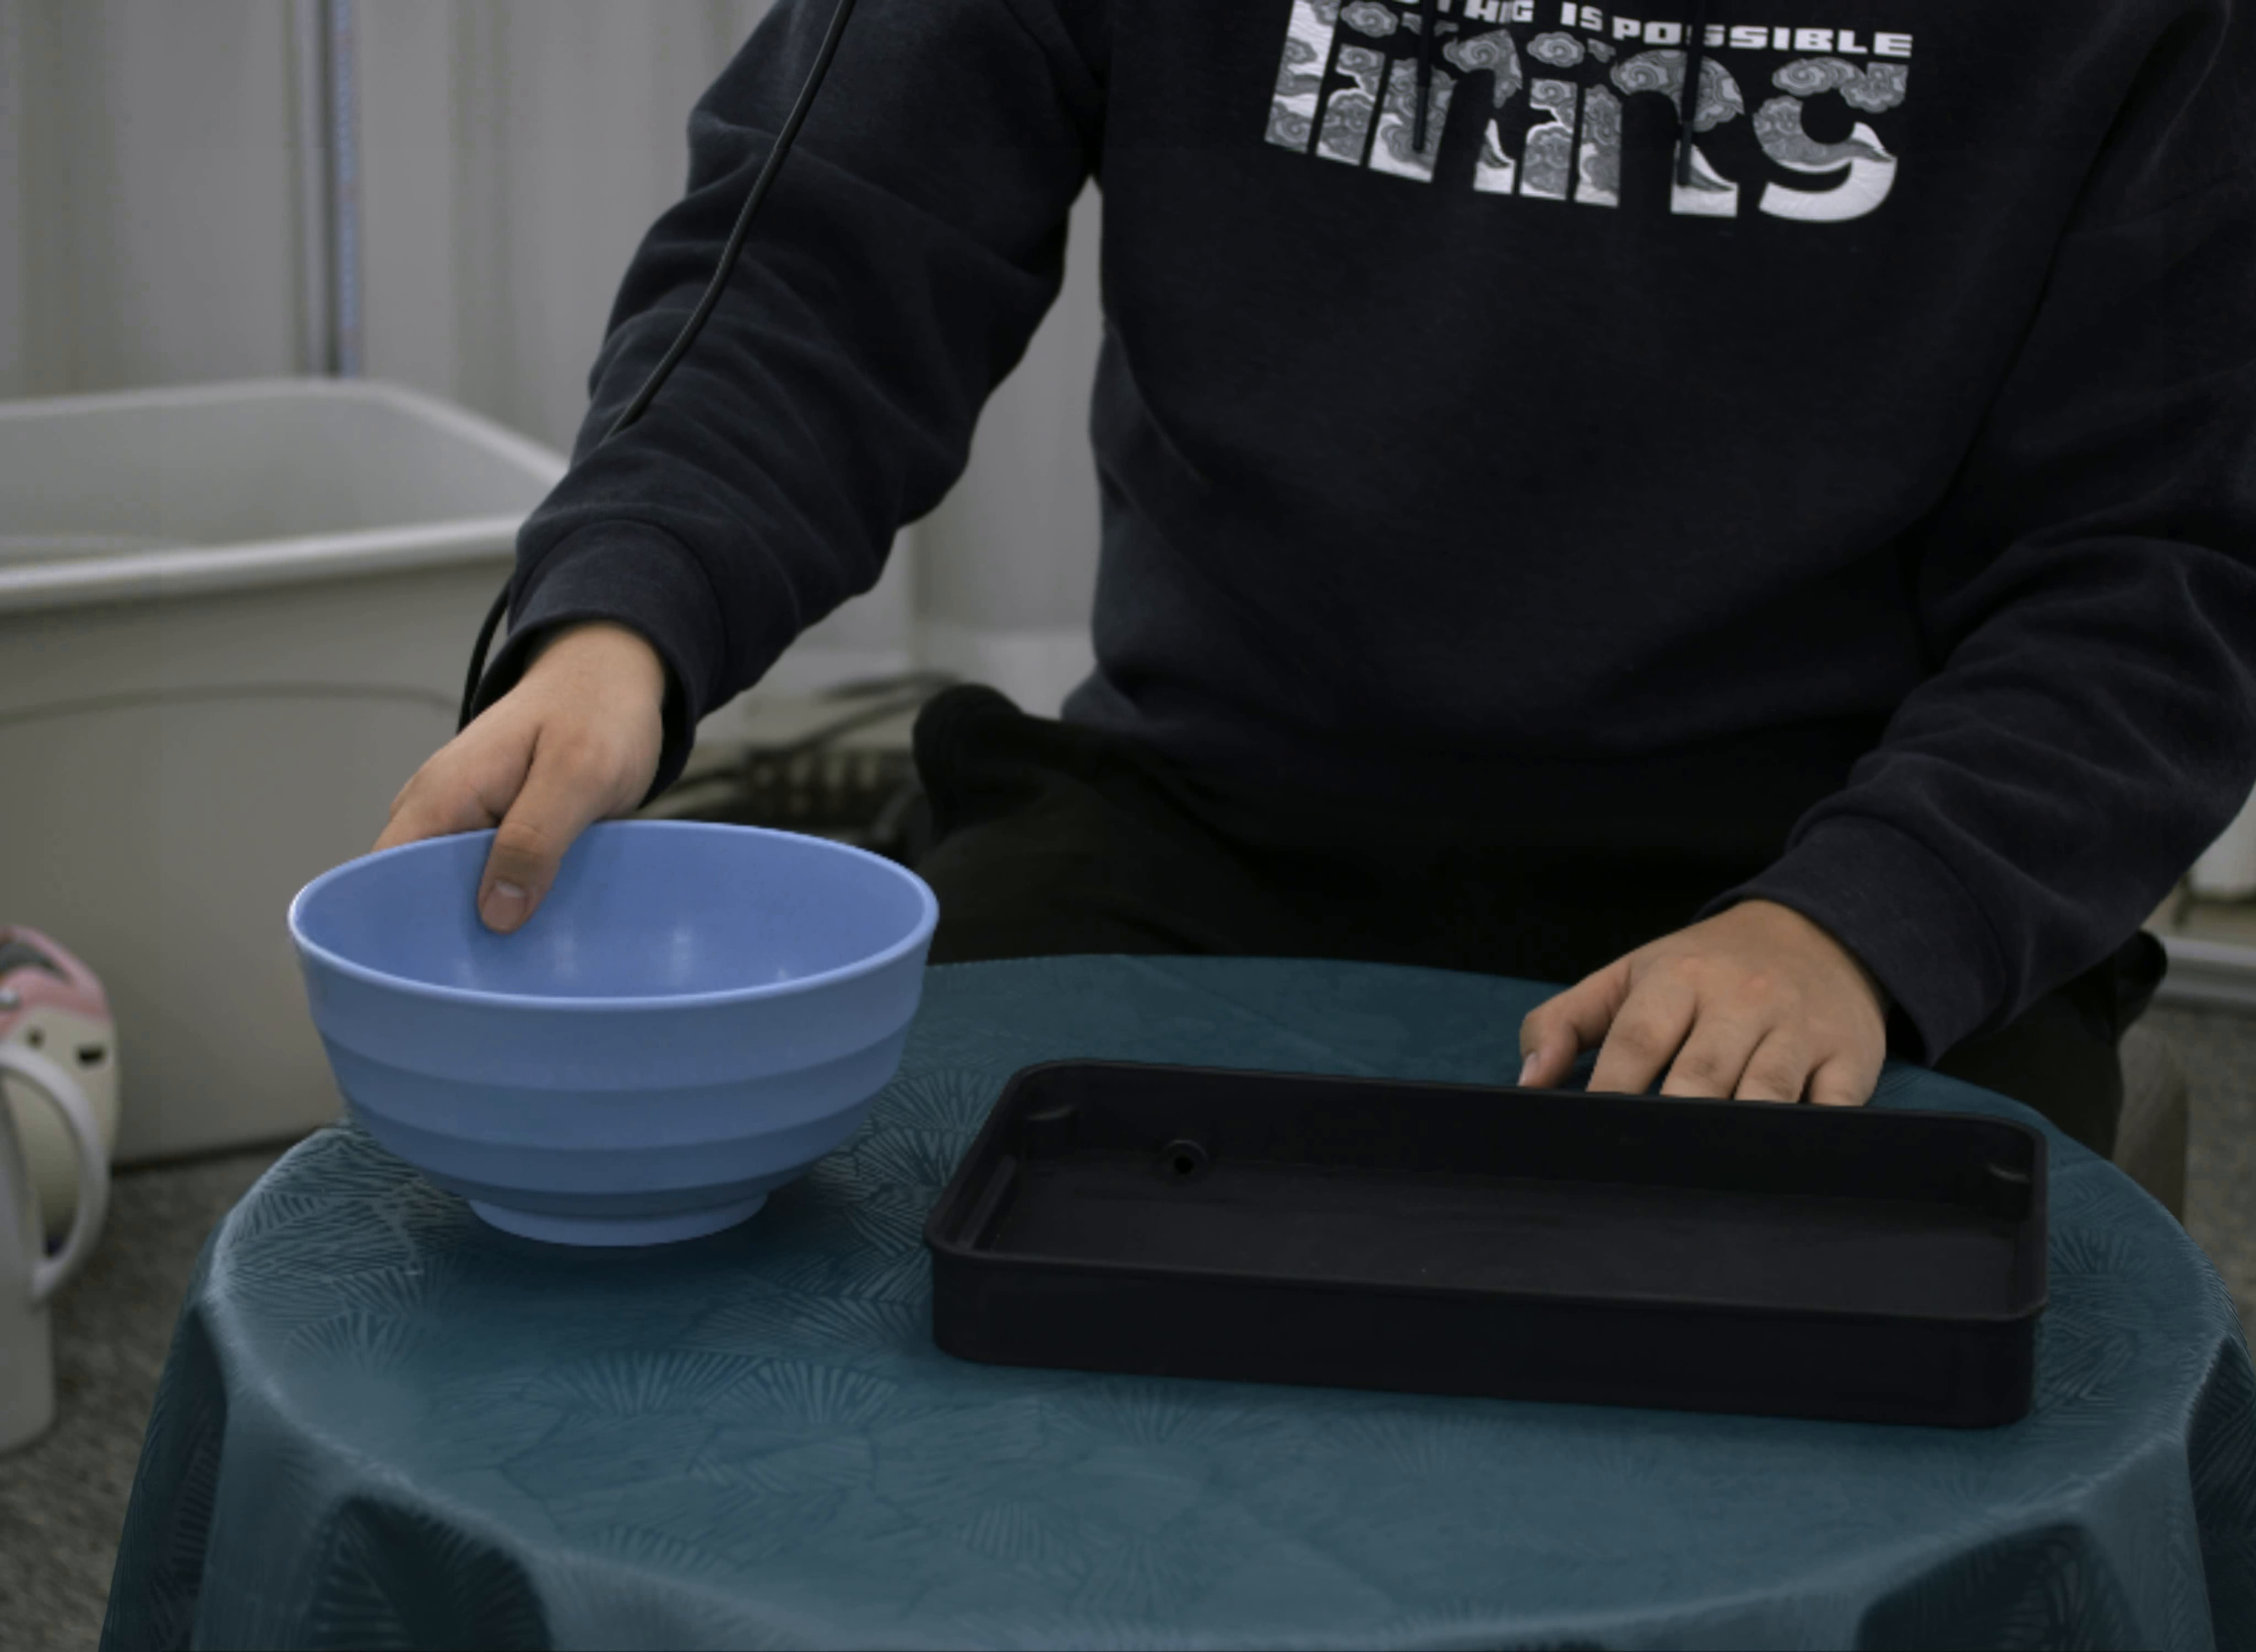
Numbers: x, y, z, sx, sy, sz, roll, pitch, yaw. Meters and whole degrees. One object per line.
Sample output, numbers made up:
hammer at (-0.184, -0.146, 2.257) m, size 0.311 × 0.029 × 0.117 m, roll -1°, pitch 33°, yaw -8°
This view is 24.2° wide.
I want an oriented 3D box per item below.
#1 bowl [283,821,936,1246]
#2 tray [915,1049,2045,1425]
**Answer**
bowl at (-0.155, 0.068, 1.599) m, size 0.196 × 0.096 × 0.195 m, roll -1°, pitch 16°, yaw 1°
tray at (0.107, 0.117, 1.542) m, size 0.316 × 0.037 × 0.184 m, roll 3°, pitch 15°, yaw 8°
